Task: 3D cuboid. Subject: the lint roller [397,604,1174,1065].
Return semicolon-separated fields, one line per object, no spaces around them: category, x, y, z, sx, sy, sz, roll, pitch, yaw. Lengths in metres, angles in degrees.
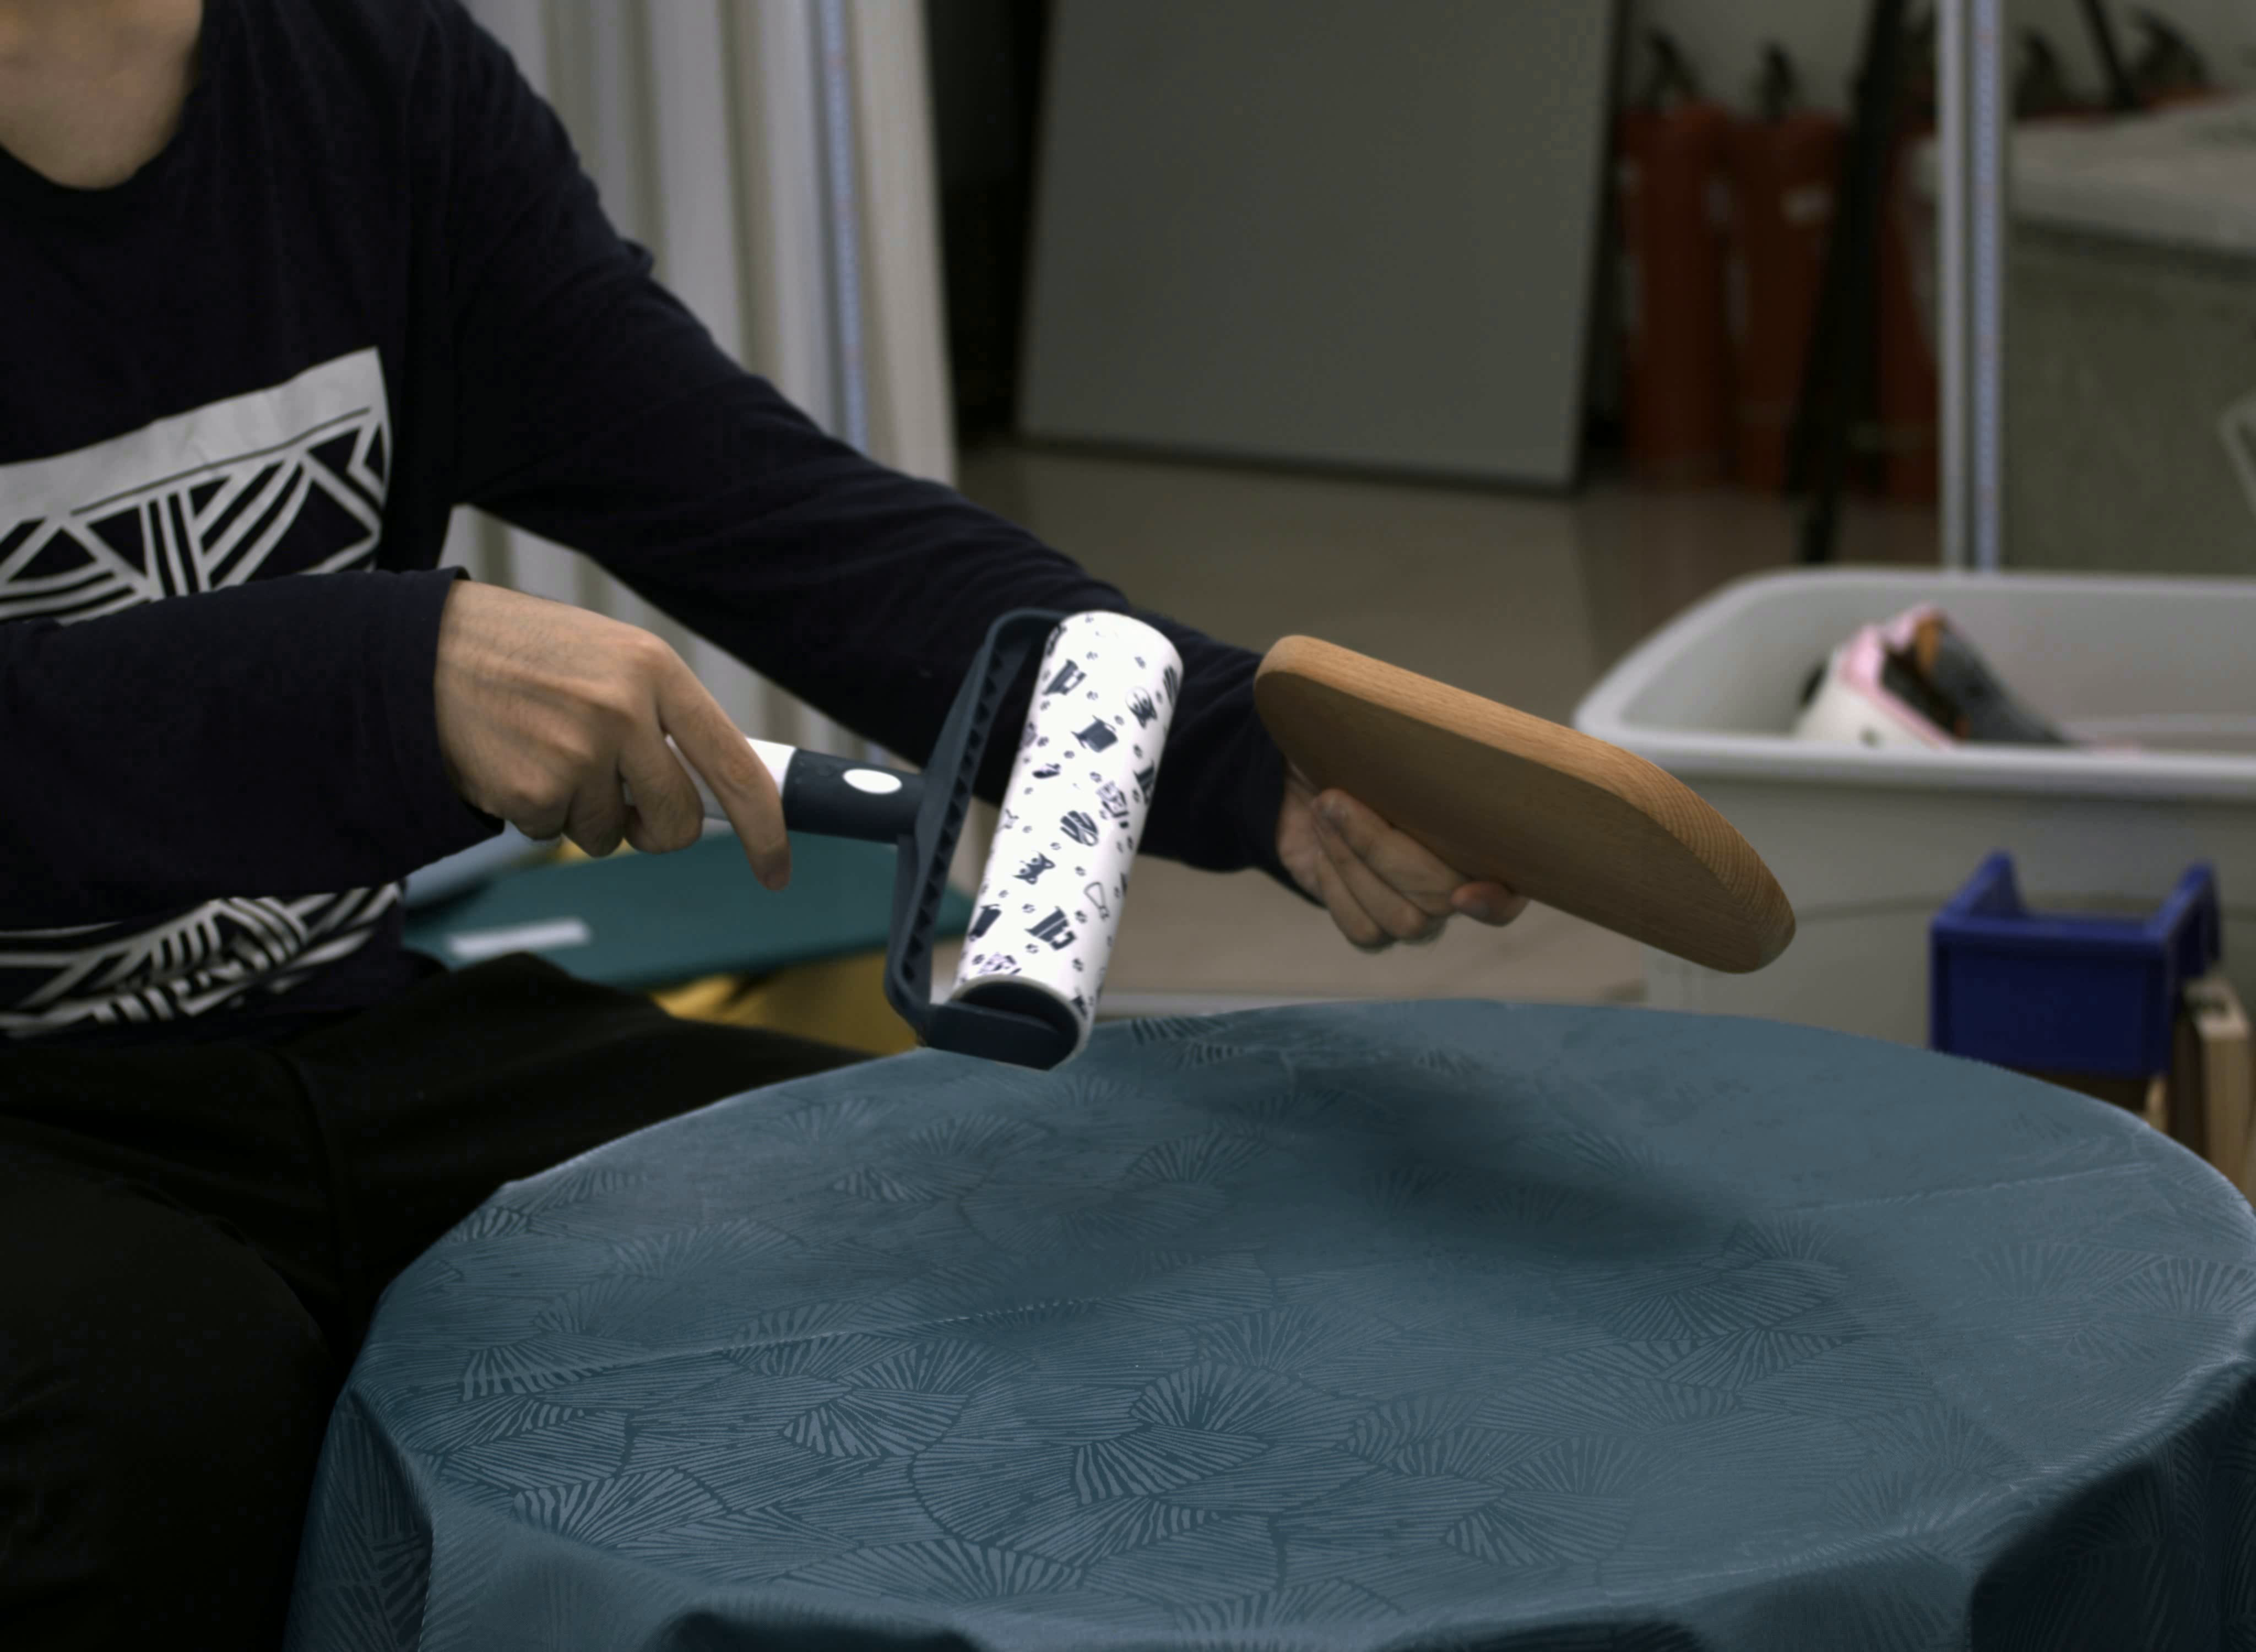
lint roller;-0.118;-0.013;1.752;0.245;0.050;0.177;9;49;6

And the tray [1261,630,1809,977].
tray;0.127;-0.007;1.740;0.020;0.101;0.233;-49;41;-16
